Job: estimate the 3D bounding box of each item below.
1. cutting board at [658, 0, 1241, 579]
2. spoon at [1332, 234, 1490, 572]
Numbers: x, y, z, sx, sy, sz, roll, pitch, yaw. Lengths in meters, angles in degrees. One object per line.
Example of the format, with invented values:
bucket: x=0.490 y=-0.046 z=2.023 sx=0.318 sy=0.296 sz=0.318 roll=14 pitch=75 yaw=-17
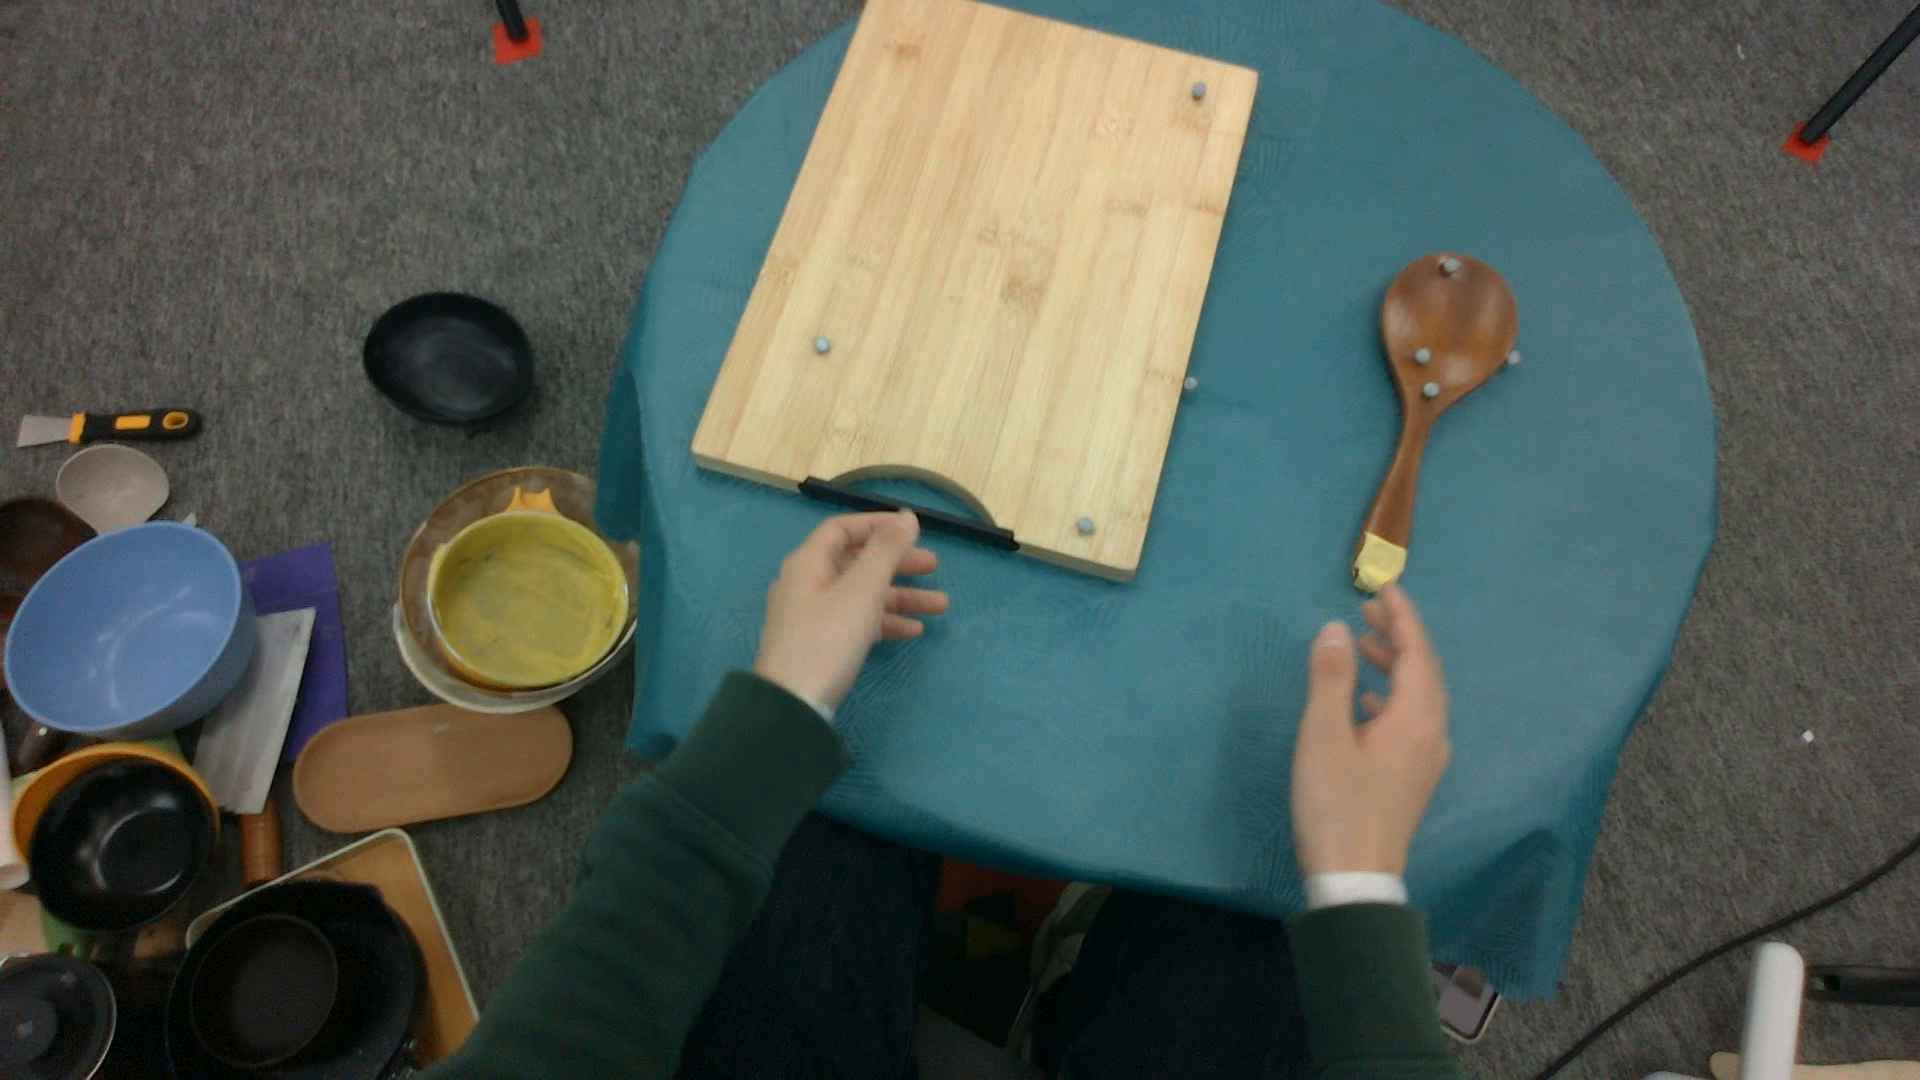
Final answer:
cutting board: x=0.007 y=-0.165 z=0.775 sx=0.250 sy=0.023 sz=0.350 roll=14 pitch=67 yaw=3
spoon: x=0.239 y=-0.078 z=0.752 sx=0.075 sy=0.017 sz=0.216 roll=20 pitch=67 yaw=3
